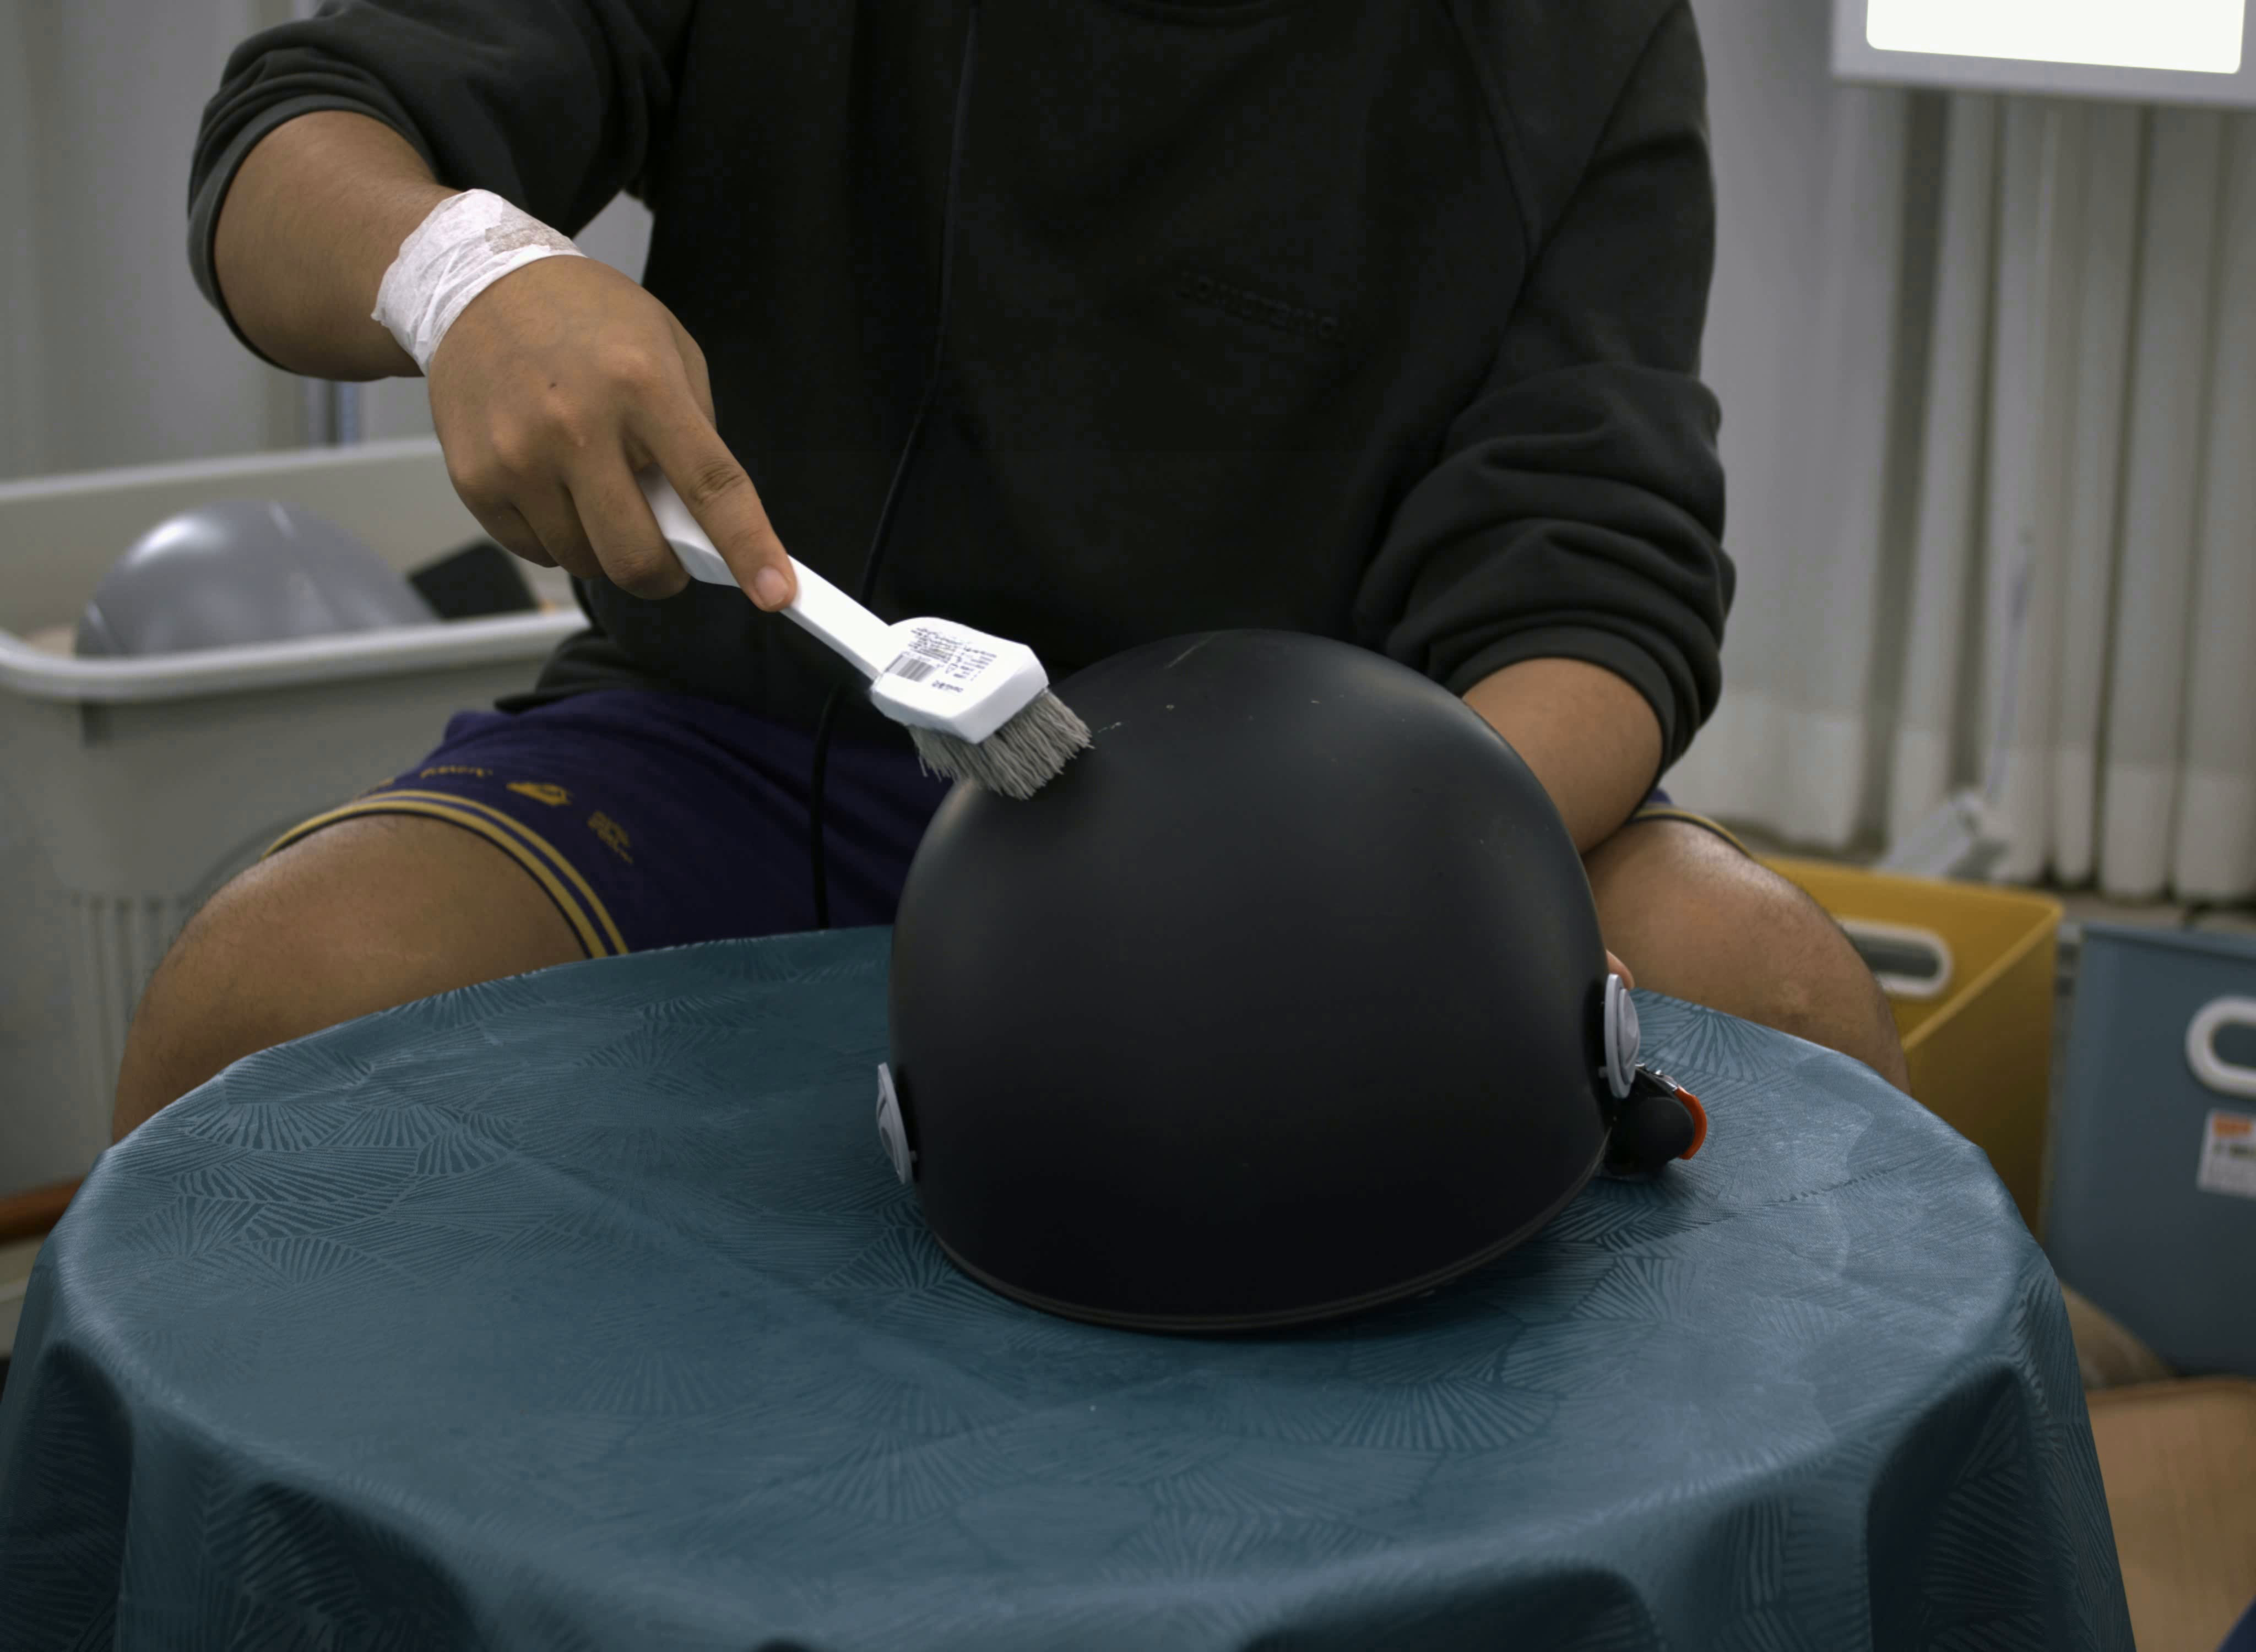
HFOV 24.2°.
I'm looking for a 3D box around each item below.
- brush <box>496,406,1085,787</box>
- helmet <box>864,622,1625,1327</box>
[{"bbox_3d":[-0.106,-0.070,1.607,0.240,0.051,0.034,28,64,37],"label":"brush"},{"bbox_3d":[0.031,0.030,1.595,0.229,0.168,0.271,-7,20,5],"label":"helmet"}]
